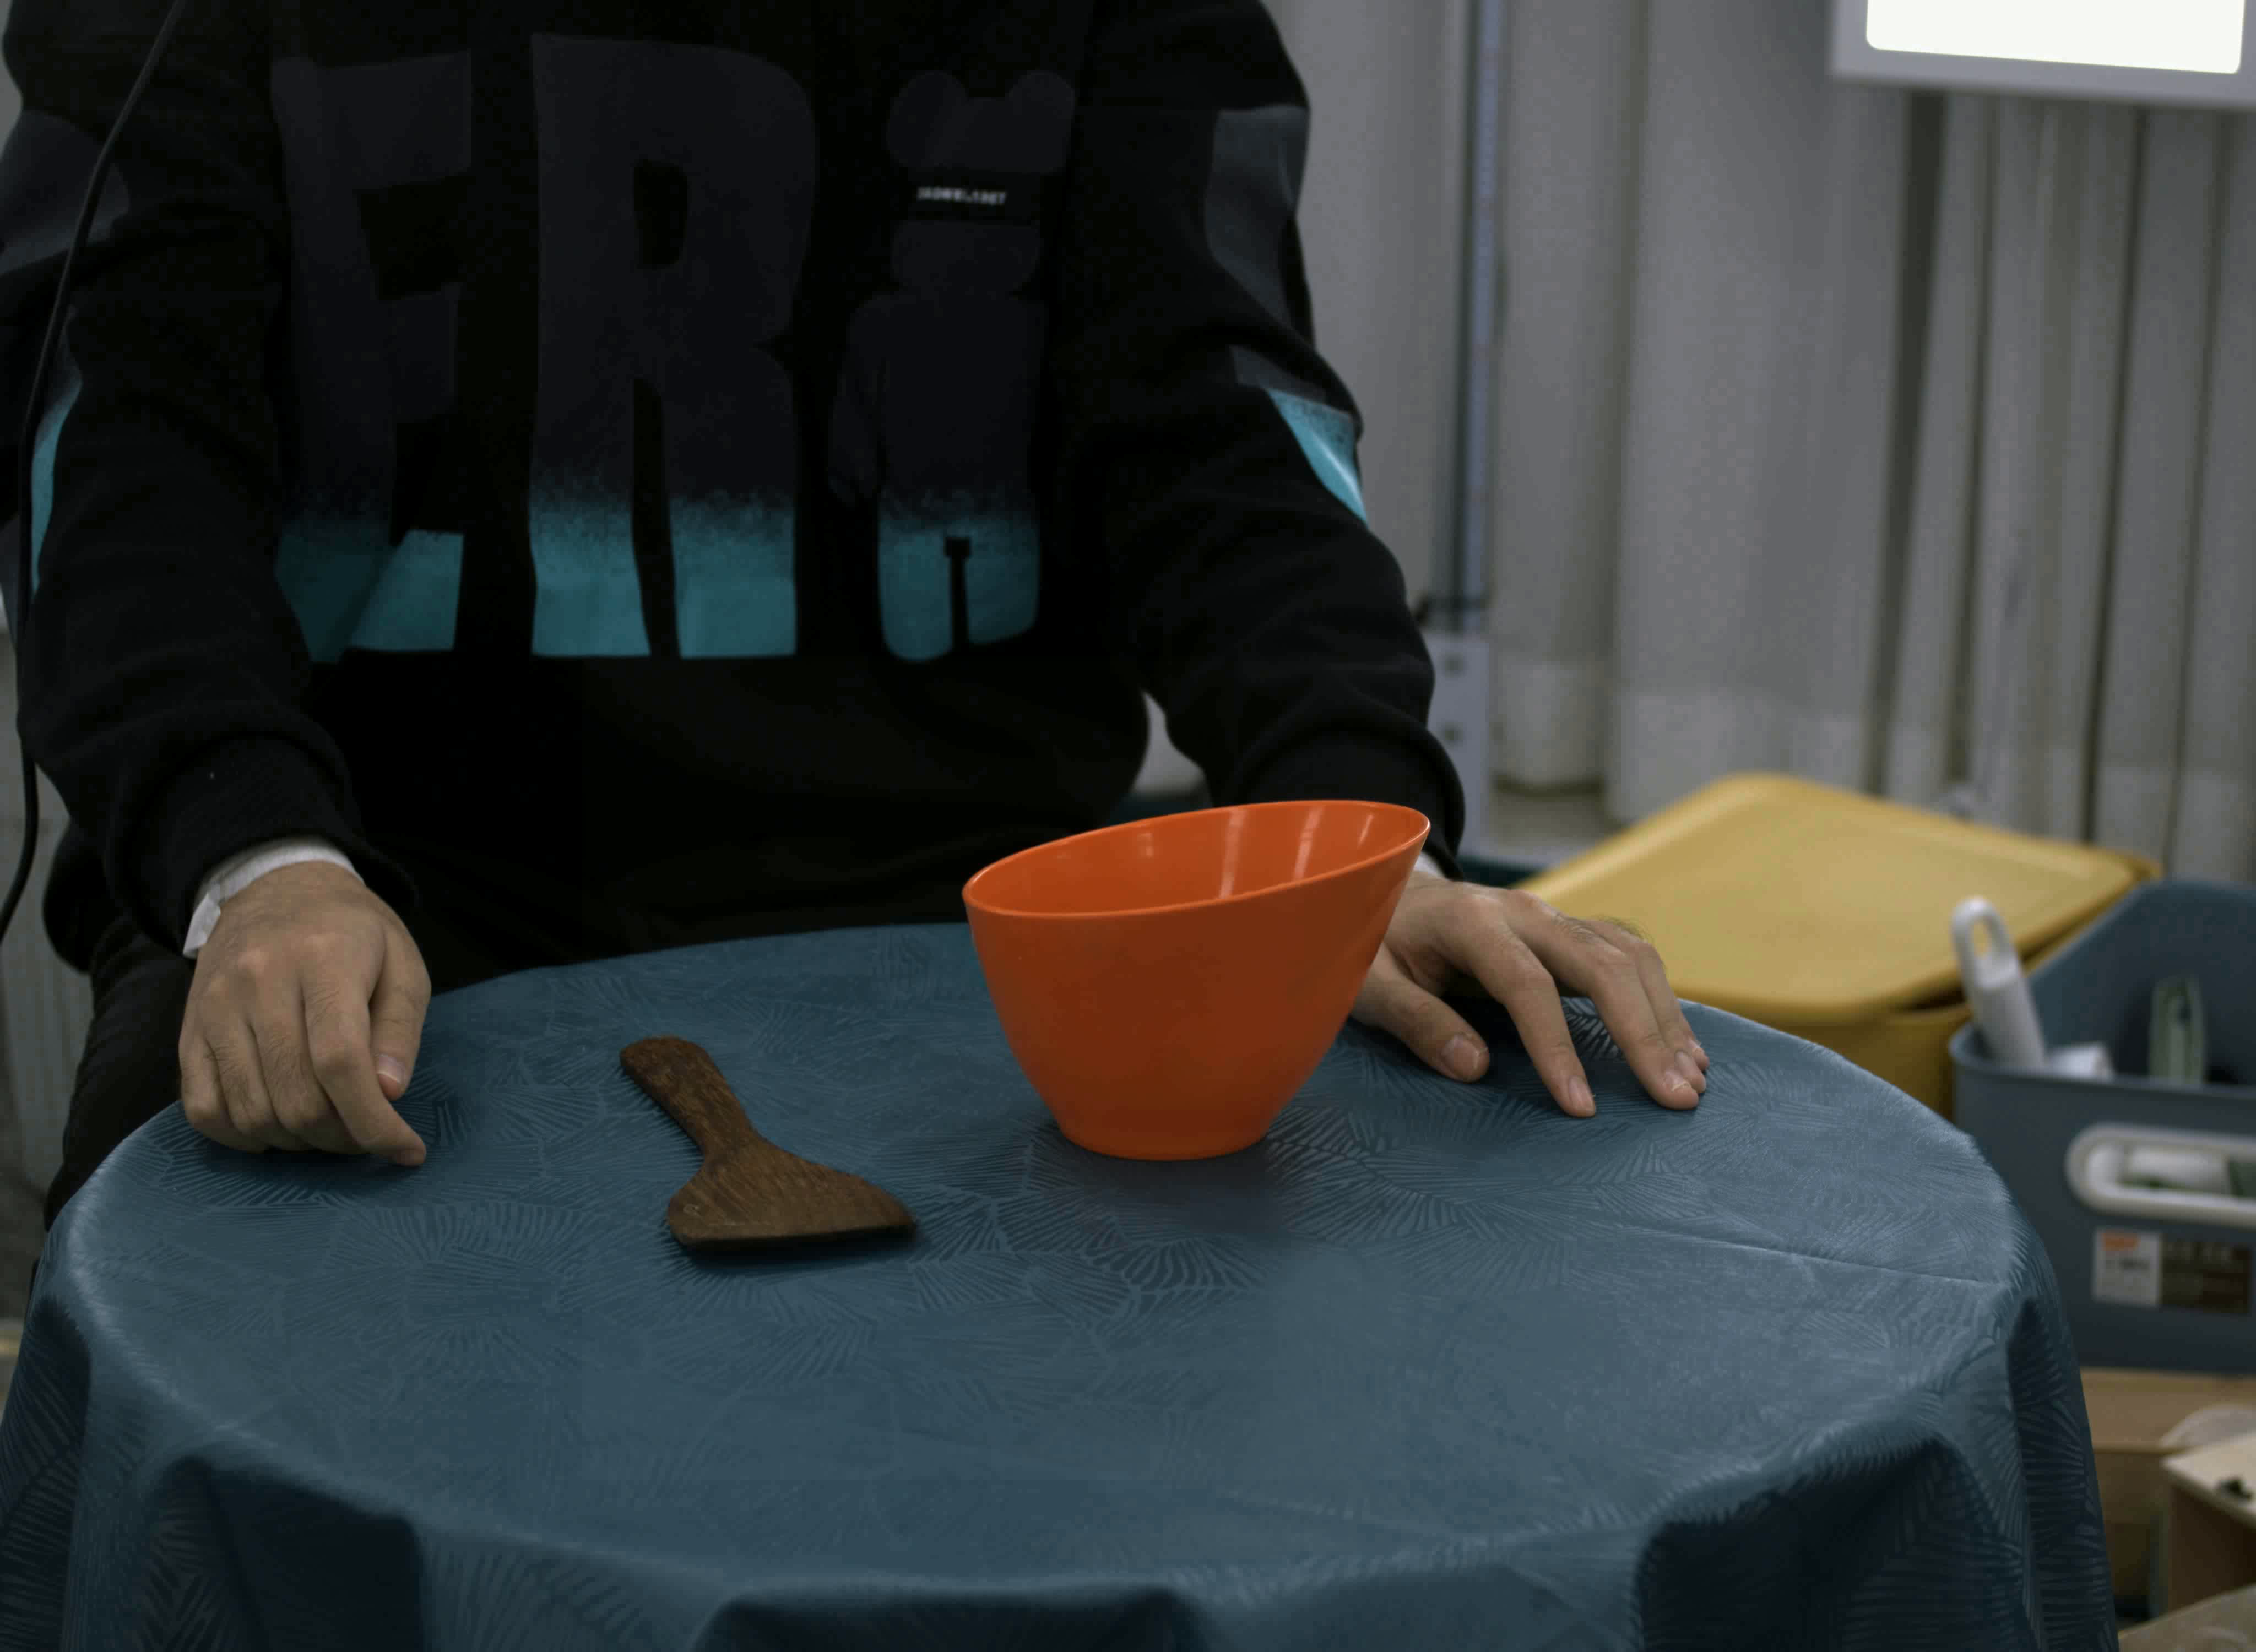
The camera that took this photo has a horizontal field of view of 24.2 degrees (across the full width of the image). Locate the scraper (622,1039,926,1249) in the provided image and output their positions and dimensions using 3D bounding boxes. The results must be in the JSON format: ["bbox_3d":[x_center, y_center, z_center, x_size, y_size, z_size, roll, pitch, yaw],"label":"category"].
[{"bbox_3d":[-0.124,0.099,1.655,0.076,0.011,0.209,-3,15,-18],"label":"scraper"}]

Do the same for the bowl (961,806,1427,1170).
[{"bbox_3d":[0.021,0.051,1.664,0.147,0.105,0.147,-1,15,1],"label":"bowl"}]
